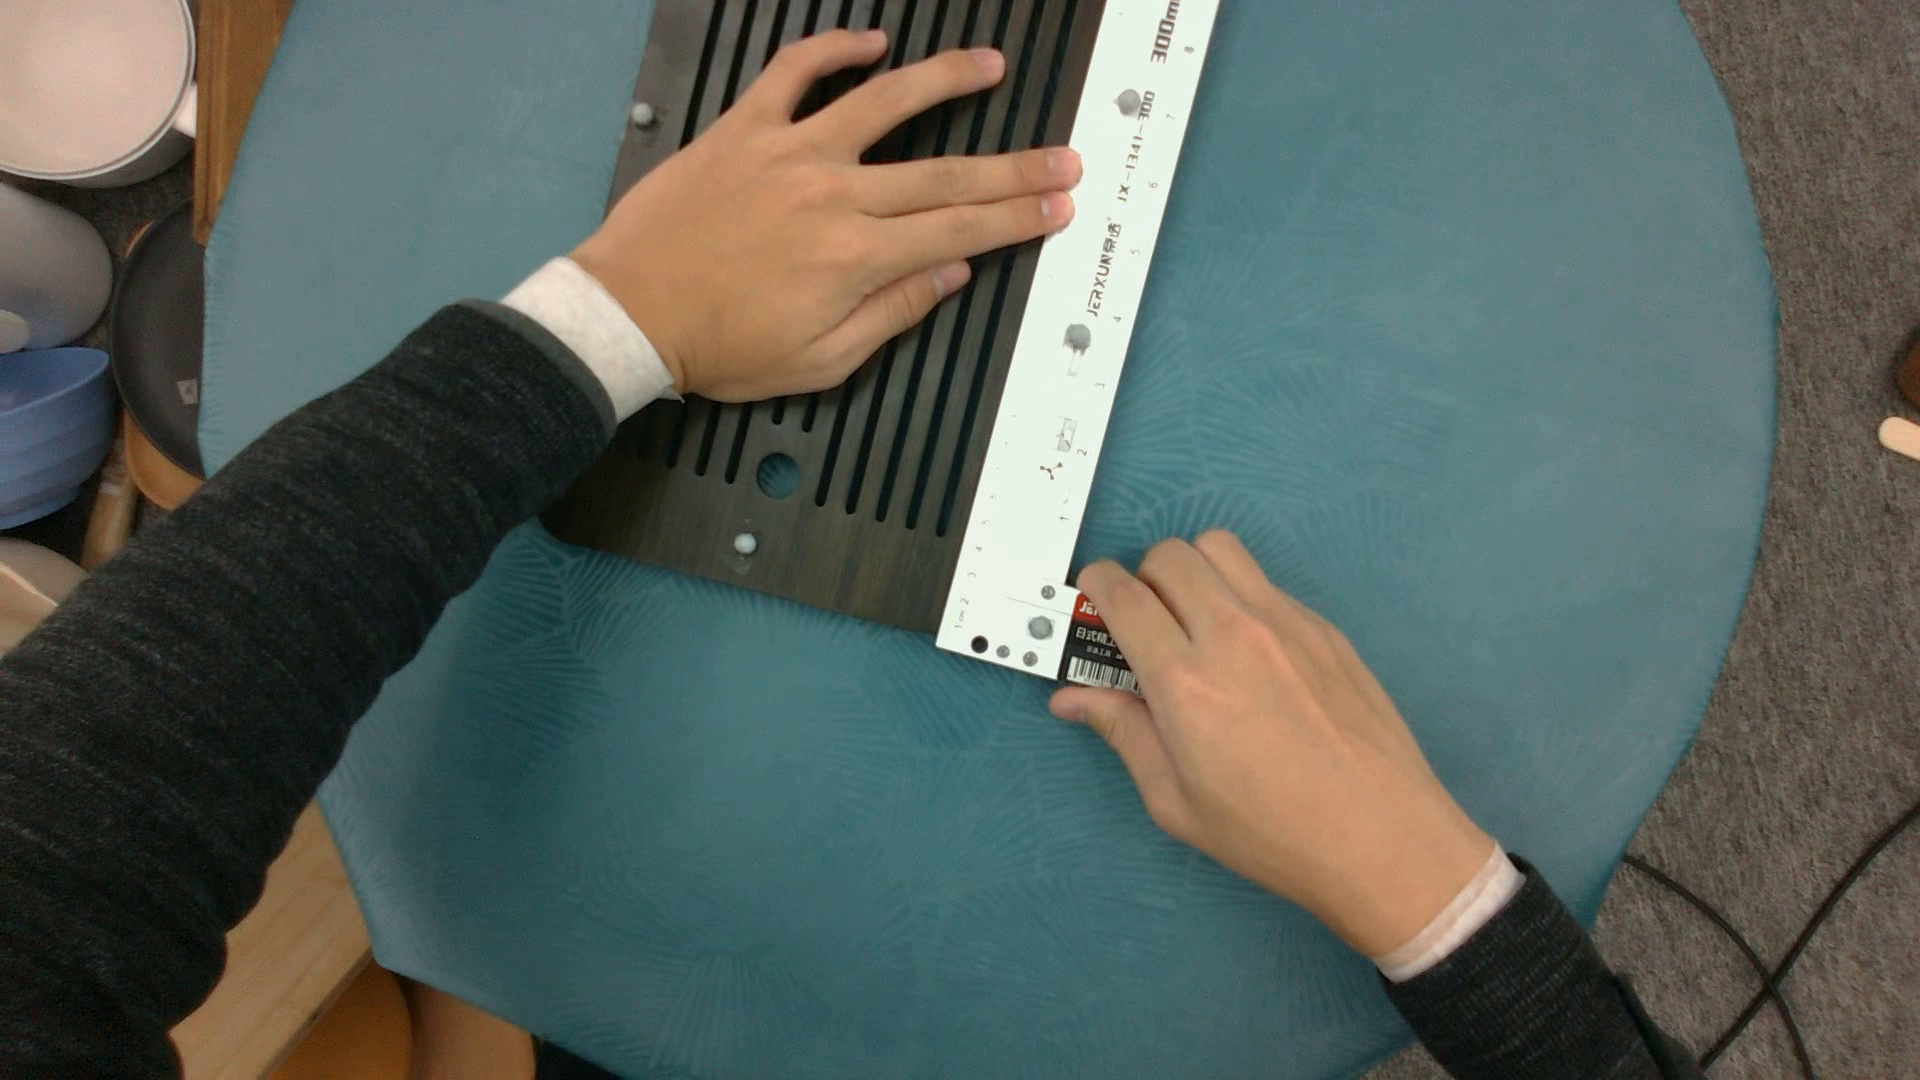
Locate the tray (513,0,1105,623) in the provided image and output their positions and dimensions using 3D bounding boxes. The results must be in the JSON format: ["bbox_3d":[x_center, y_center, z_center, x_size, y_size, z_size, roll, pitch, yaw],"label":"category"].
[{"bbox_3d":[-0.050,-0.134,0.521,0.170,0.018,0.306,14,88,1],"label":"tray"}]

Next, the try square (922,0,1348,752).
[{"bbox_3d":[0.098,-0.092,0.506,0.152,0.016,0.313,15,88,4],"label":"try square"}]
